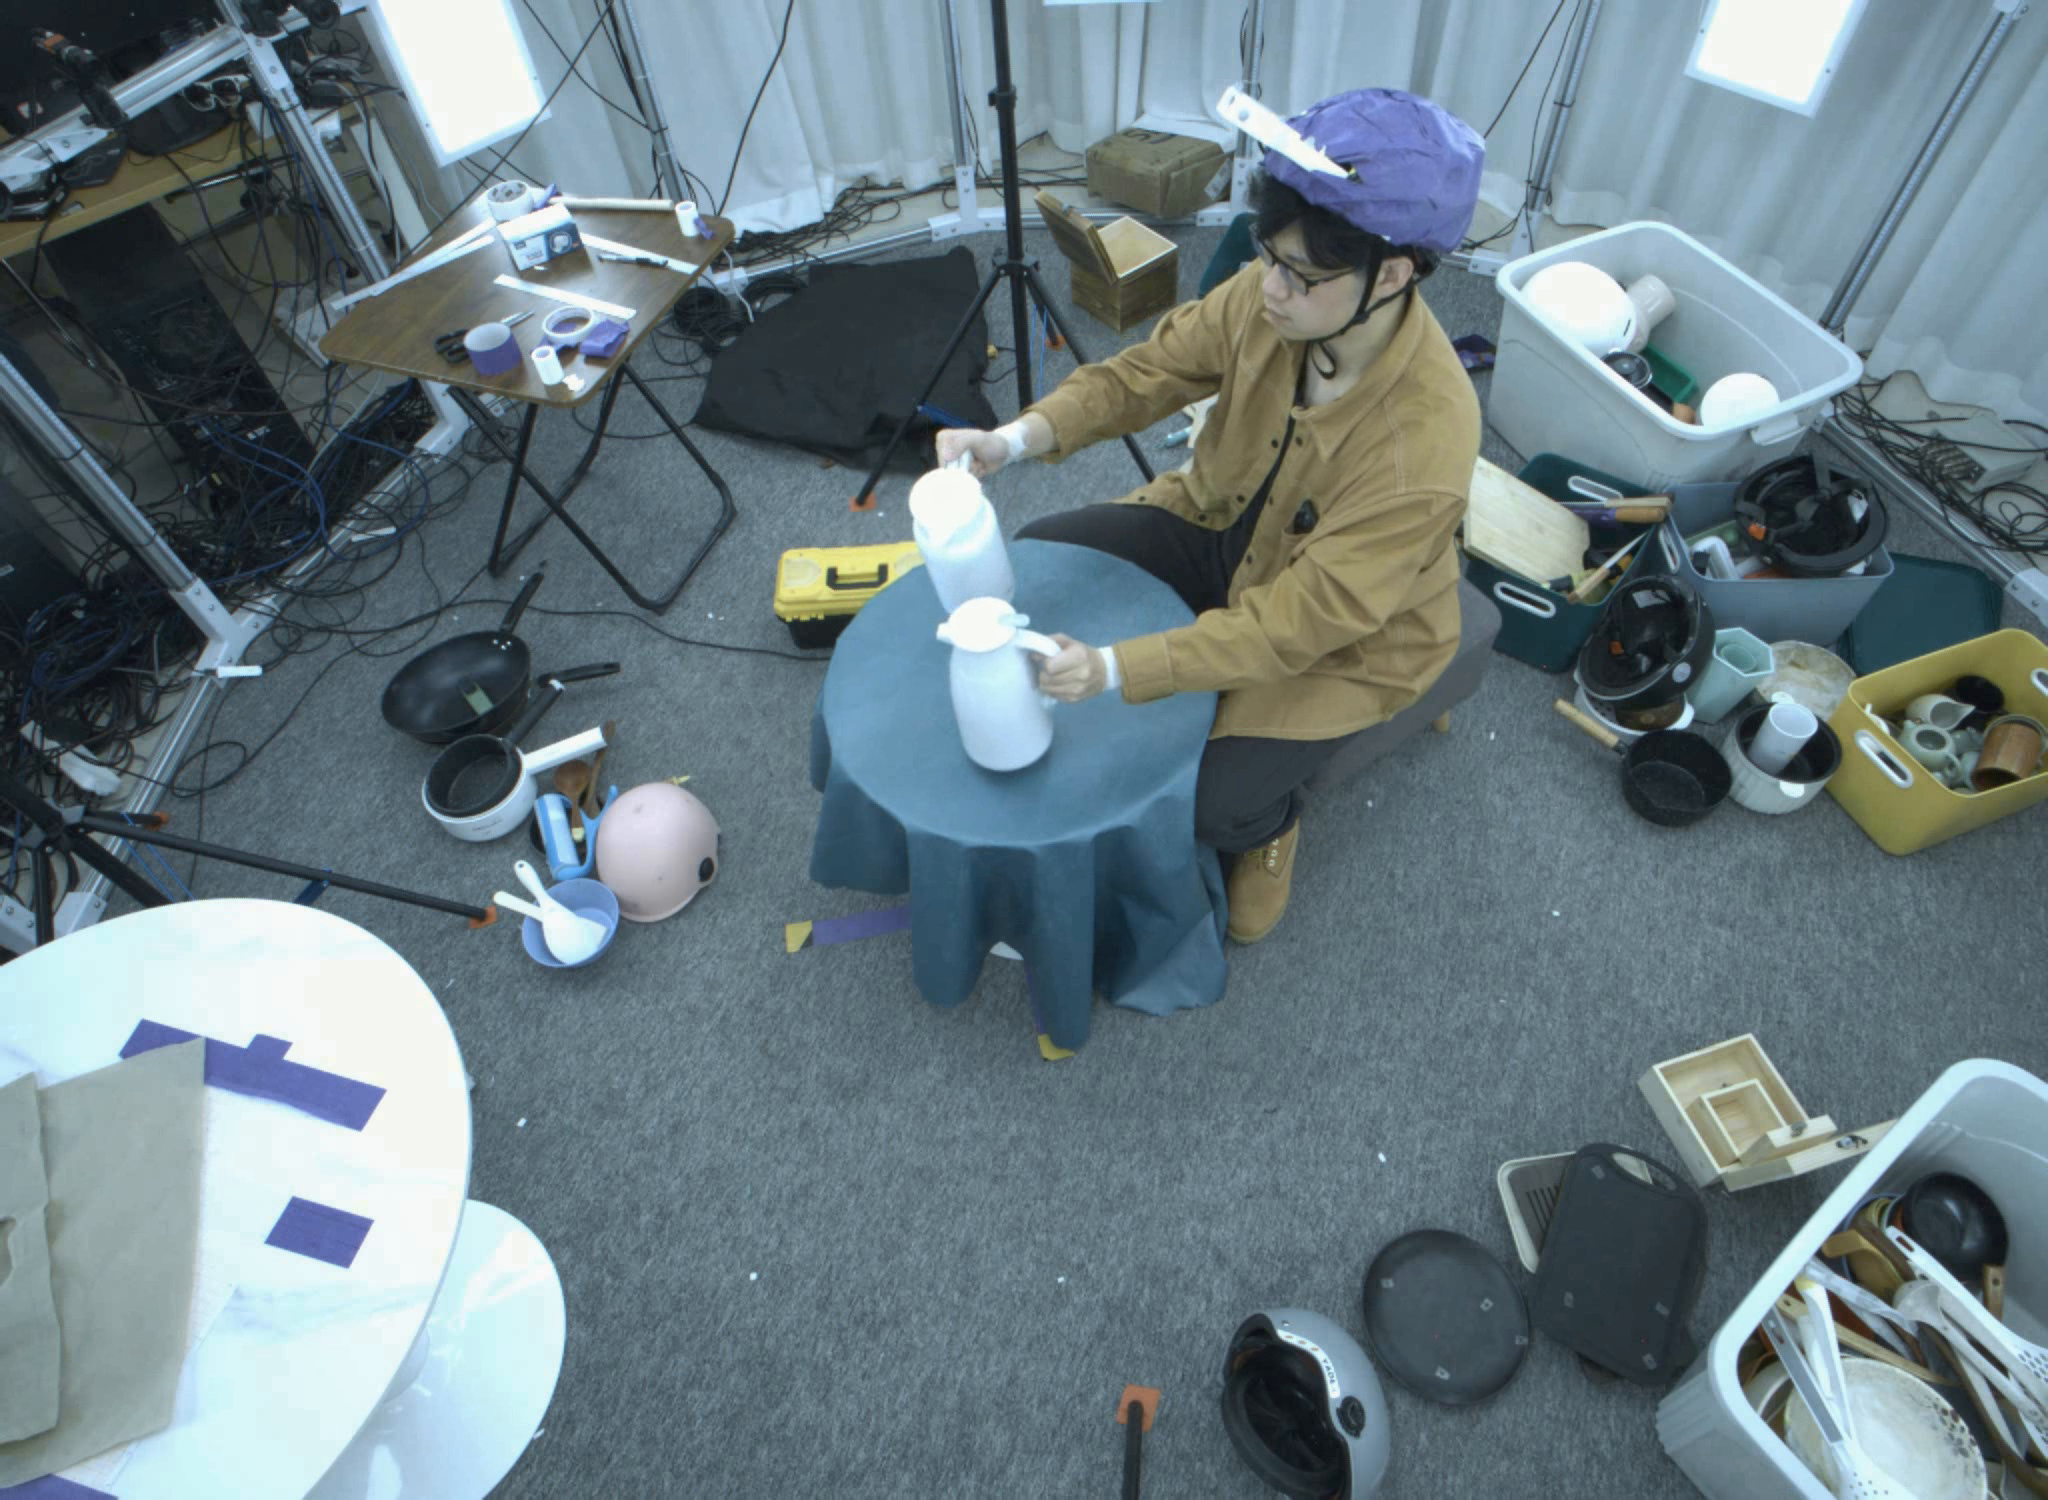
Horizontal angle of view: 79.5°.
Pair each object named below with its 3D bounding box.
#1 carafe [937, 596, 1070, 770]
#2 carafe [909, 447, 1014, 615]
[{"bbox_3d":[-0.020,-0.096,1.657,0.167,0.252,0.131,2,56,8],"label":"carafe"},{"bbox_3d":[-0.089,-0.309,1.755,0.123,0.272,0.172,3,70,11],"label":"carafe"}]
